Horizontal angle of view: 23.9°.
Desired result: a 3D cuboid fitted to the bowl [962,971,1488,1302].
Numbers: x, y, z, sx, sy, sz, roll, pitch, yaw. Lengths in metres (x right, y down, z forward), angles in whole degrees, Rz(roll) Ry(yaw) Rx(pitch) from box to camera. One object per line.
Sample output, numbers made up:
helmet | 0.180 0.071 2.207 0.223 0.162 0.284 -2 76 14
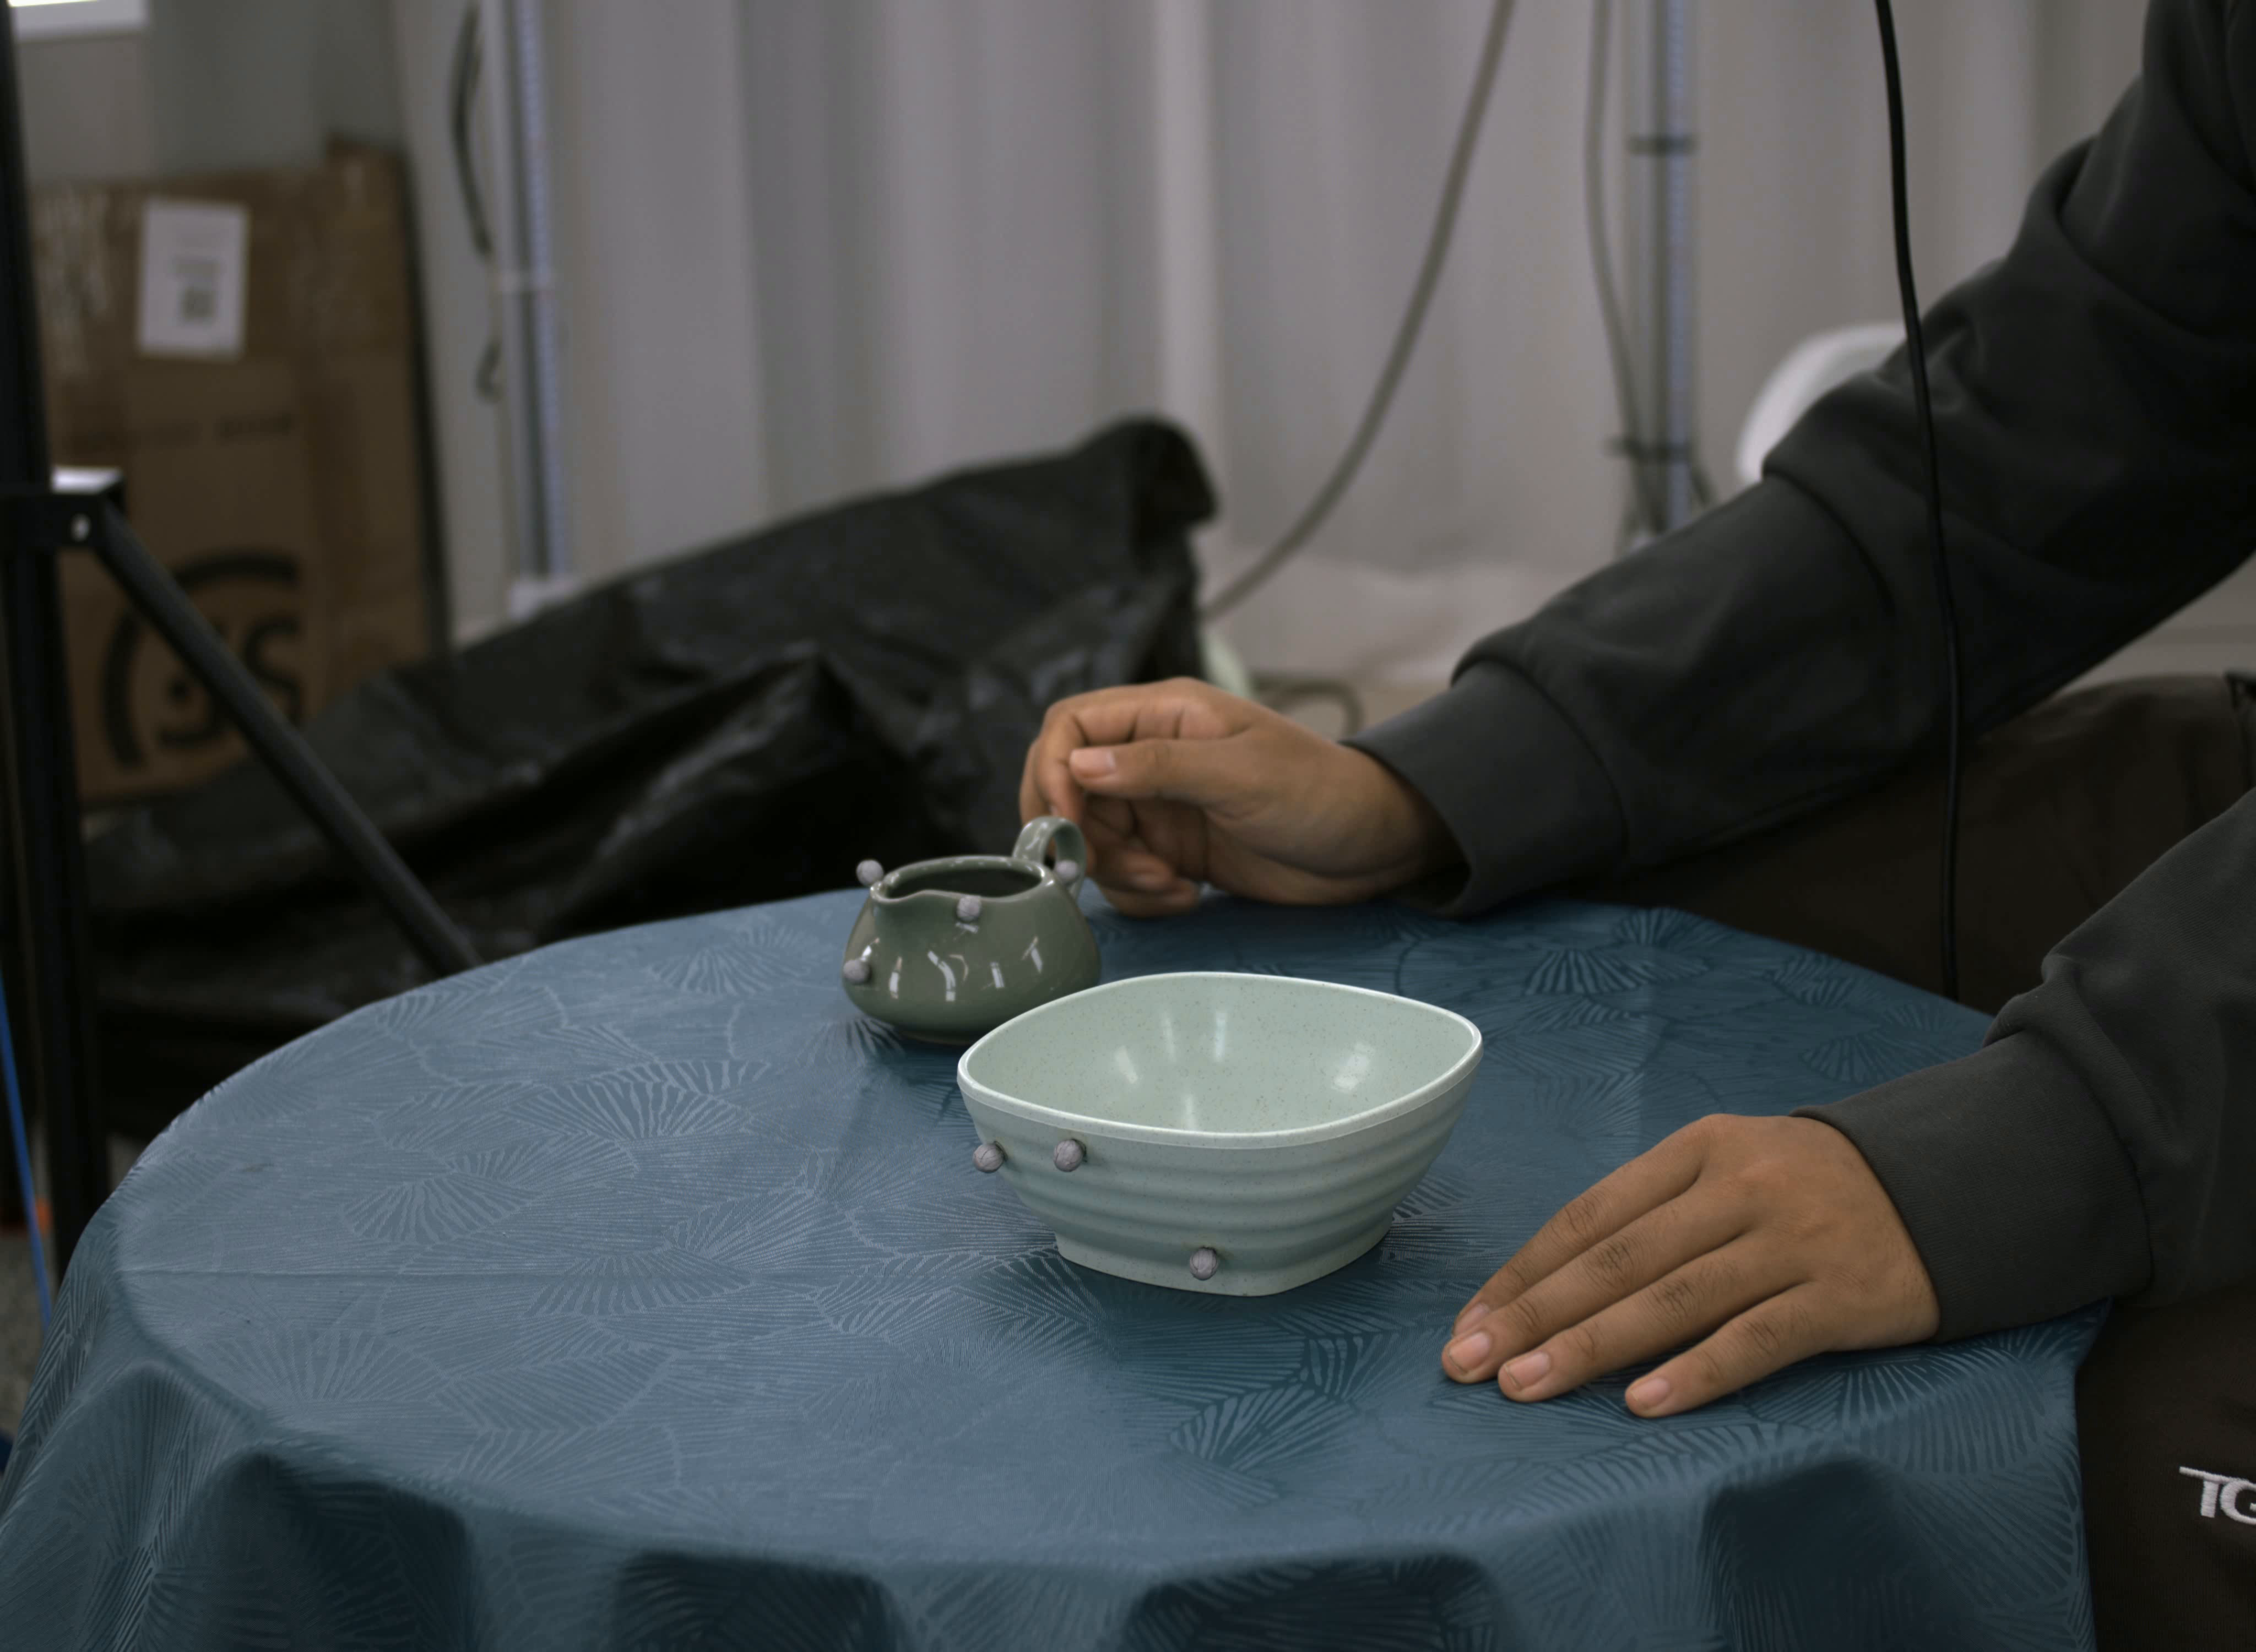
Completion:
bowl | 0.029 0.092 1.509 0.151 0.058 0.152 -4 17 0

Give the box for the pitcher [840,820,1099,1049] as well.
pitcher | -0.048 0.036 1.720 0.086 0.056 0.110 8 18 30
